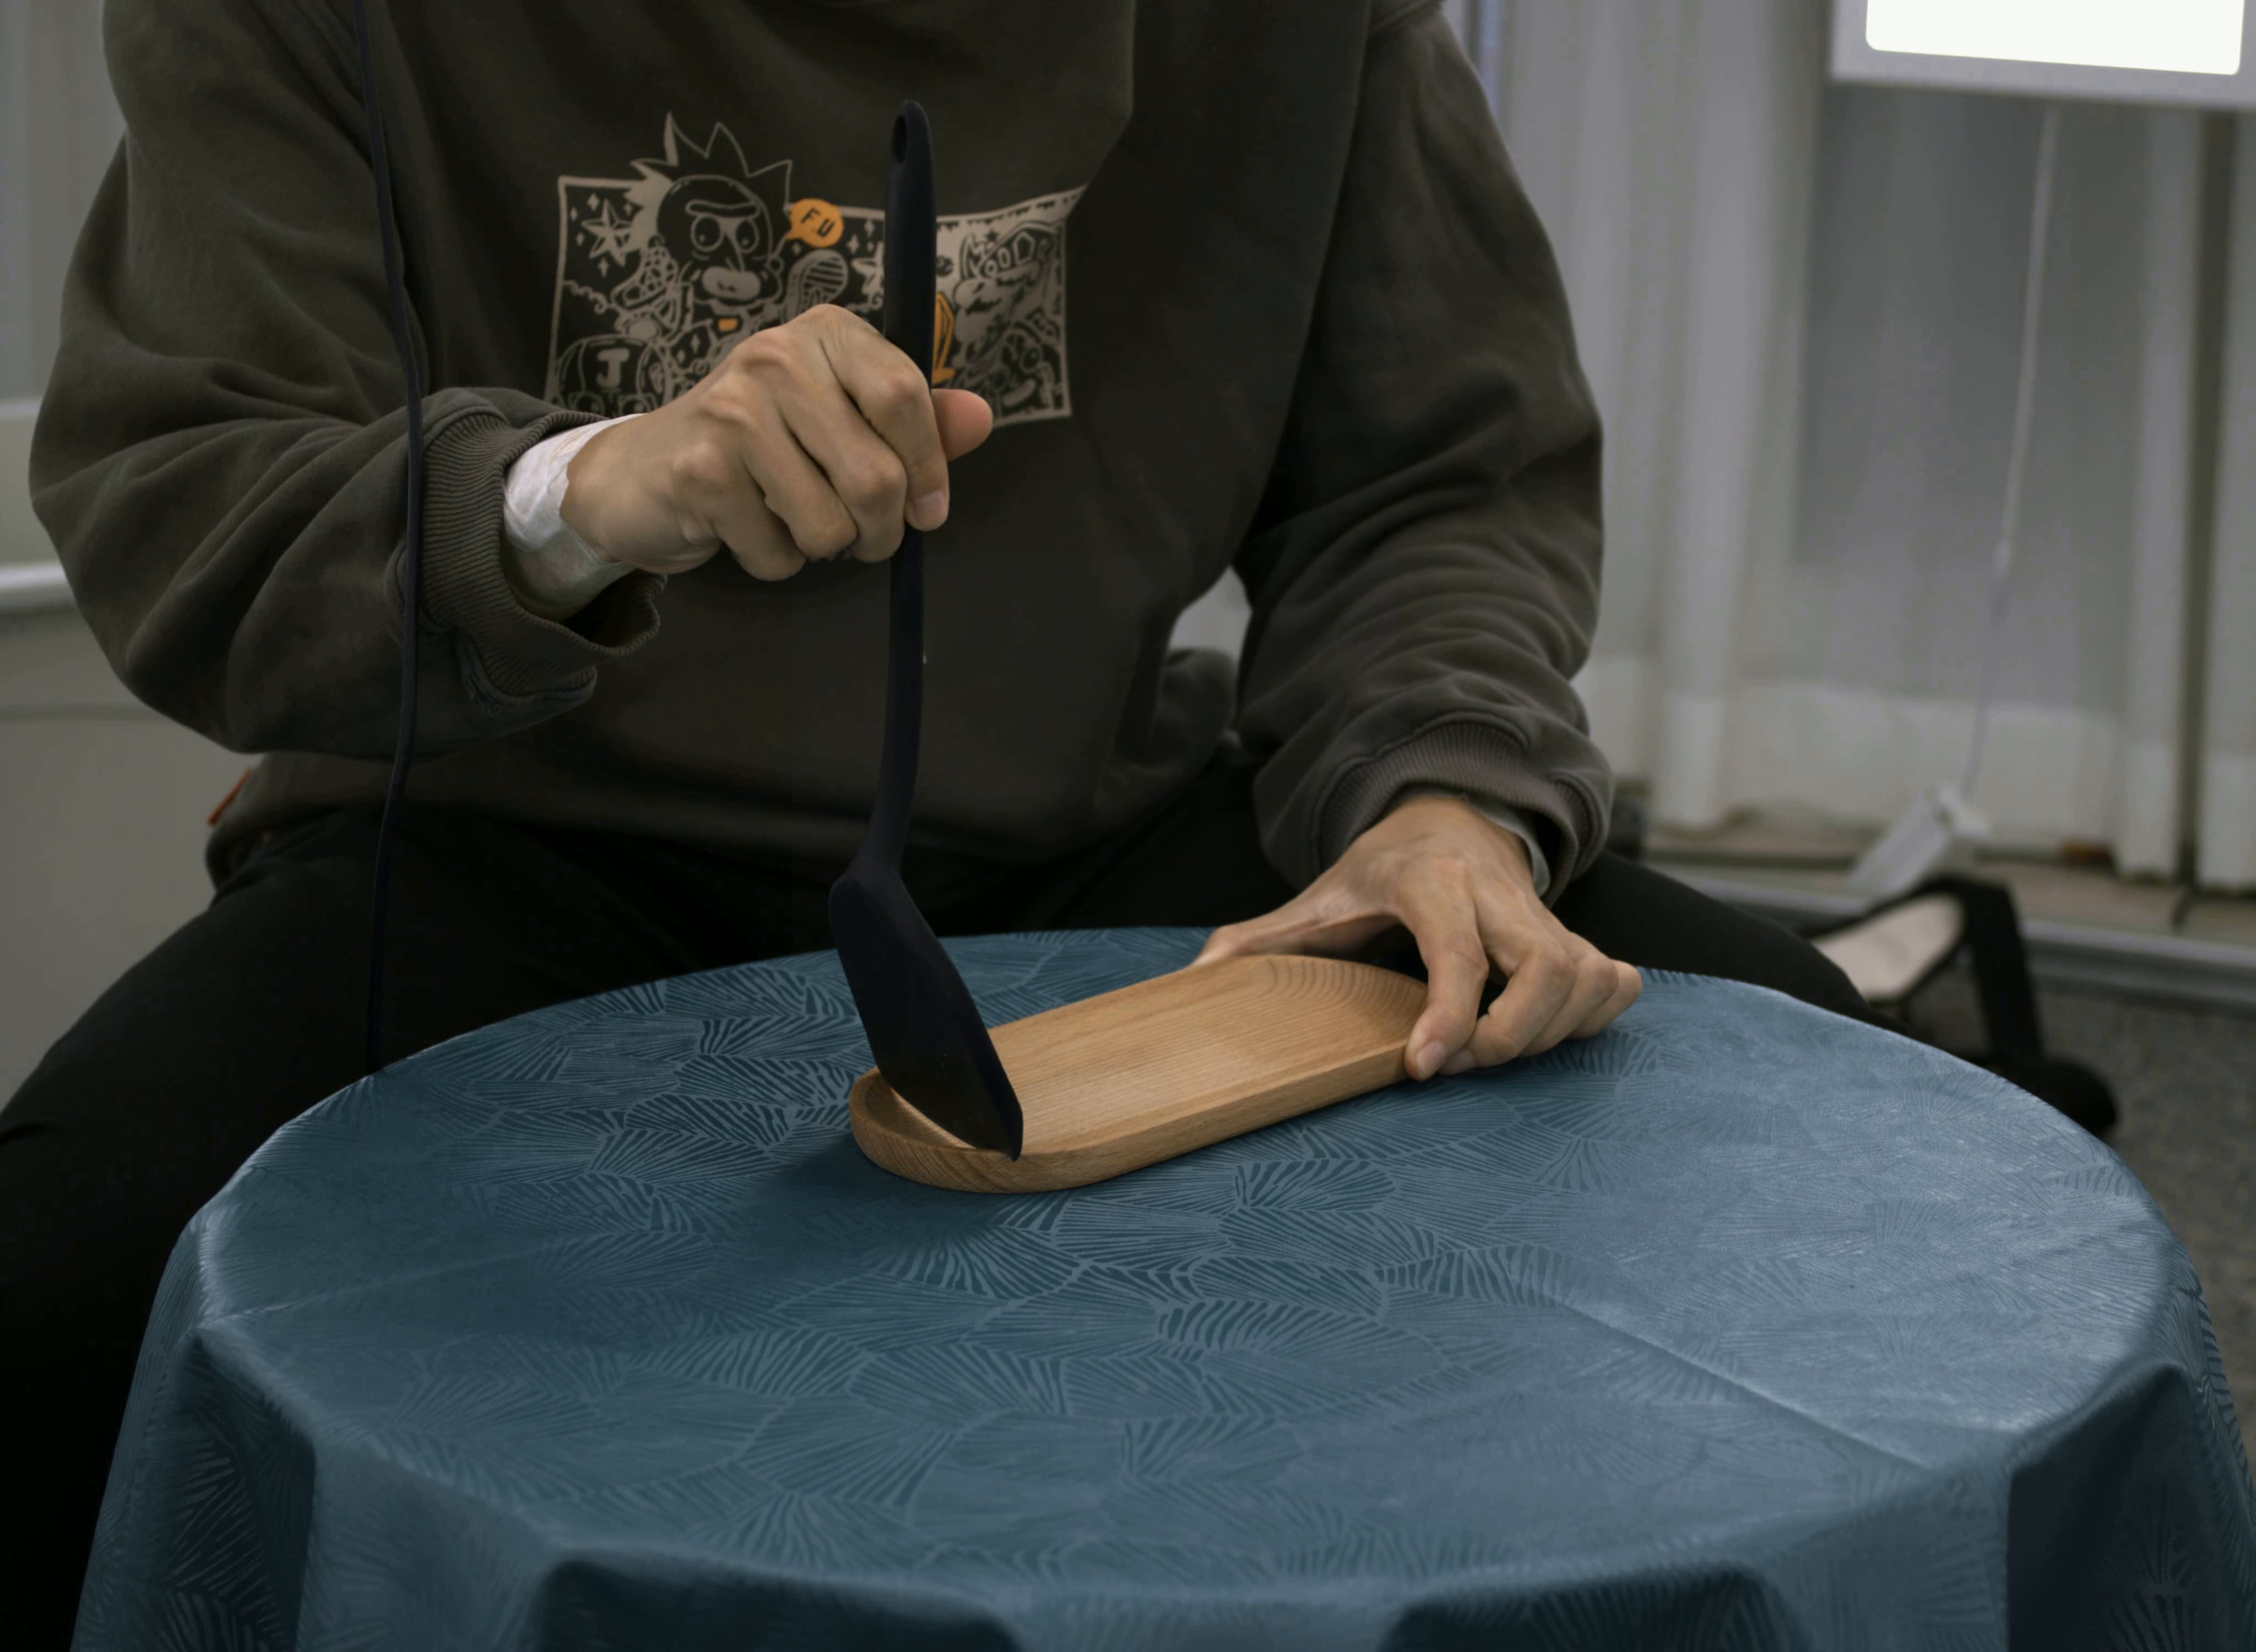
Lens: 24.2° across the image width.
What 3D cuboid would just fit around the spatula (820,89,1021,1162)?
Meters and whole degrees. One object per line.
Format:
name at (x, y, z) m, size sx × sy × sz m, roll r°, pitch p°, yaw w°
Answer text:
spatula at (-0.062, -0.060, 1.598) m, size 0.040 × 0.328 × 0.098 m, roll -5°, pitch 17°, yaw -31°

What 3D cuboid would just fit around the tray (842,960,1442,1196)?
tray at (0.007, 0.081, 1.711) m, size 0.232 × 0.020 × 0.100 m, roll -16°, pitch 25°, yaw -42°
